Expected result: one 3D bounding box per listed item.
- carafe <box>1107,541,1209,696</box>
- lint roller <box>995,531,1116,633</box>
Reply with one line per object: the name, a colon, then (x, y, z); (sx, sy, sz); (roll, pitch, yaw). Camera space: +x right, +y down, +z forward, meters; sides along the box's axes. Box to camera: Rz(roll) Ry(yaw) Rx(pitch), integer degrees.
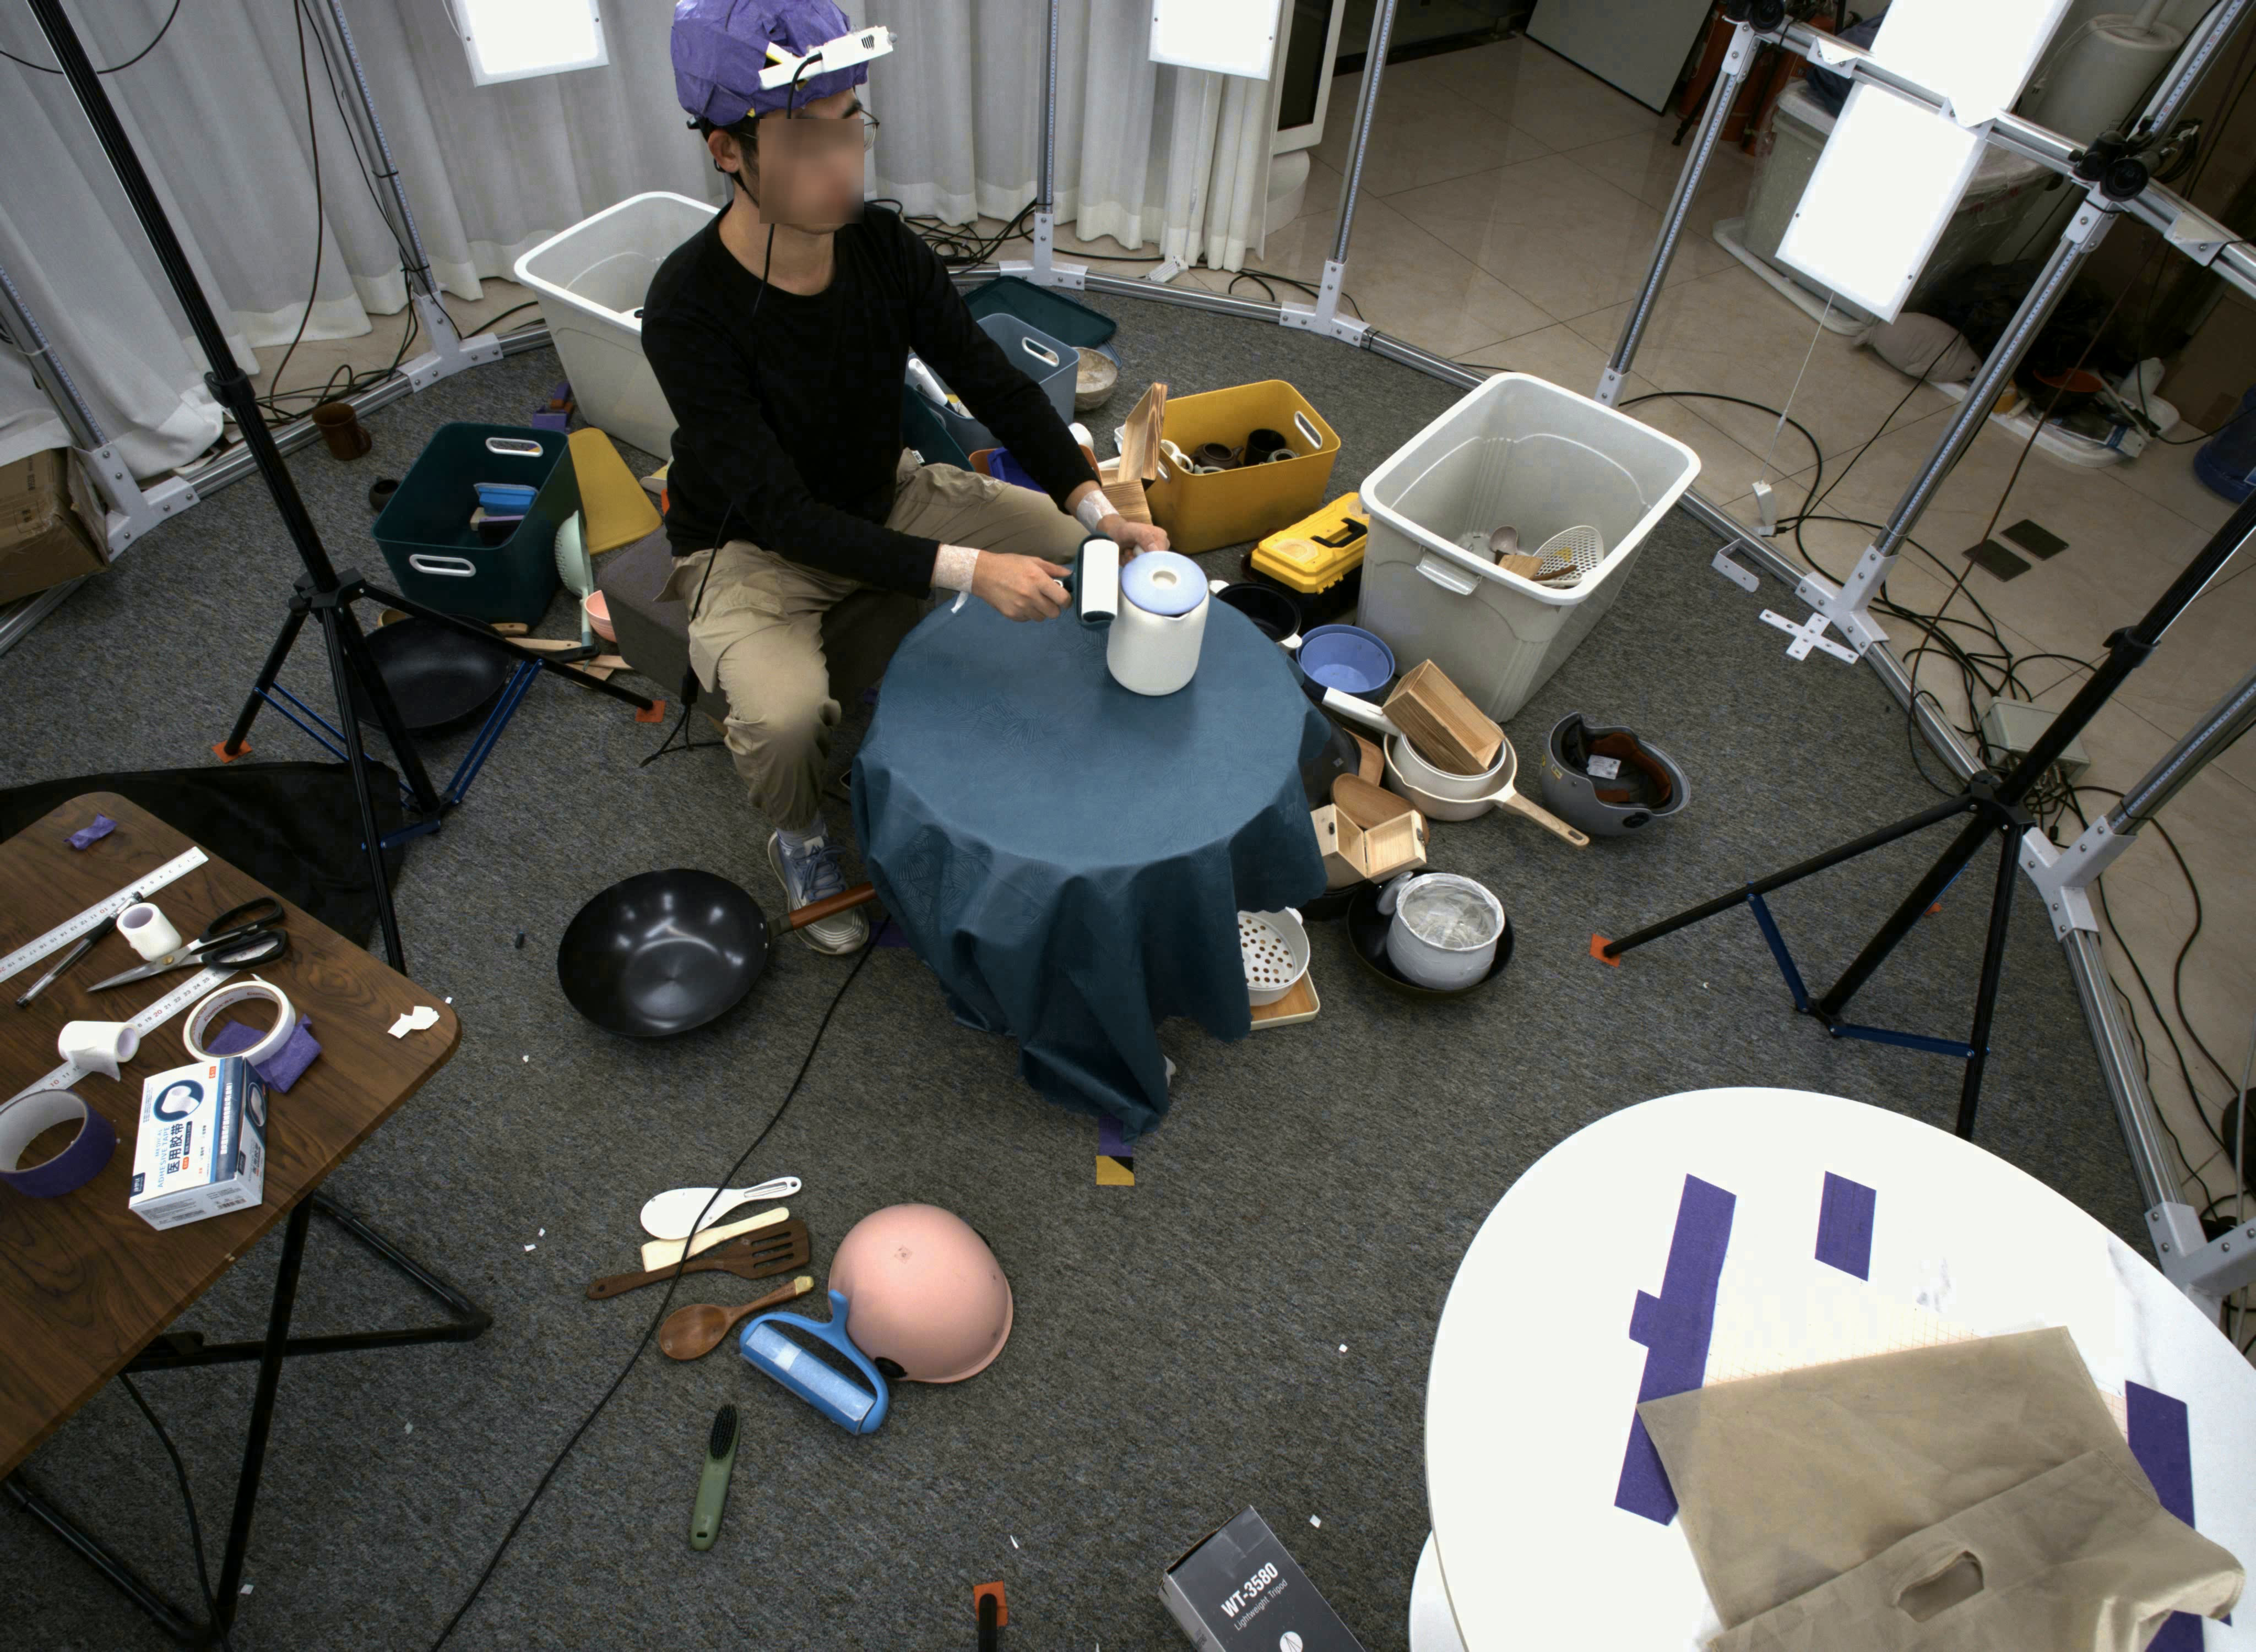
carafe: (0.034, -0.304, 1.816); (0.132, 0.178, 0.195); (-11, 54, -15)
lint roller: (-0.103, -0.320, 1.732); (0.180, 0.047, 0.136); (-3, 74, 17)
